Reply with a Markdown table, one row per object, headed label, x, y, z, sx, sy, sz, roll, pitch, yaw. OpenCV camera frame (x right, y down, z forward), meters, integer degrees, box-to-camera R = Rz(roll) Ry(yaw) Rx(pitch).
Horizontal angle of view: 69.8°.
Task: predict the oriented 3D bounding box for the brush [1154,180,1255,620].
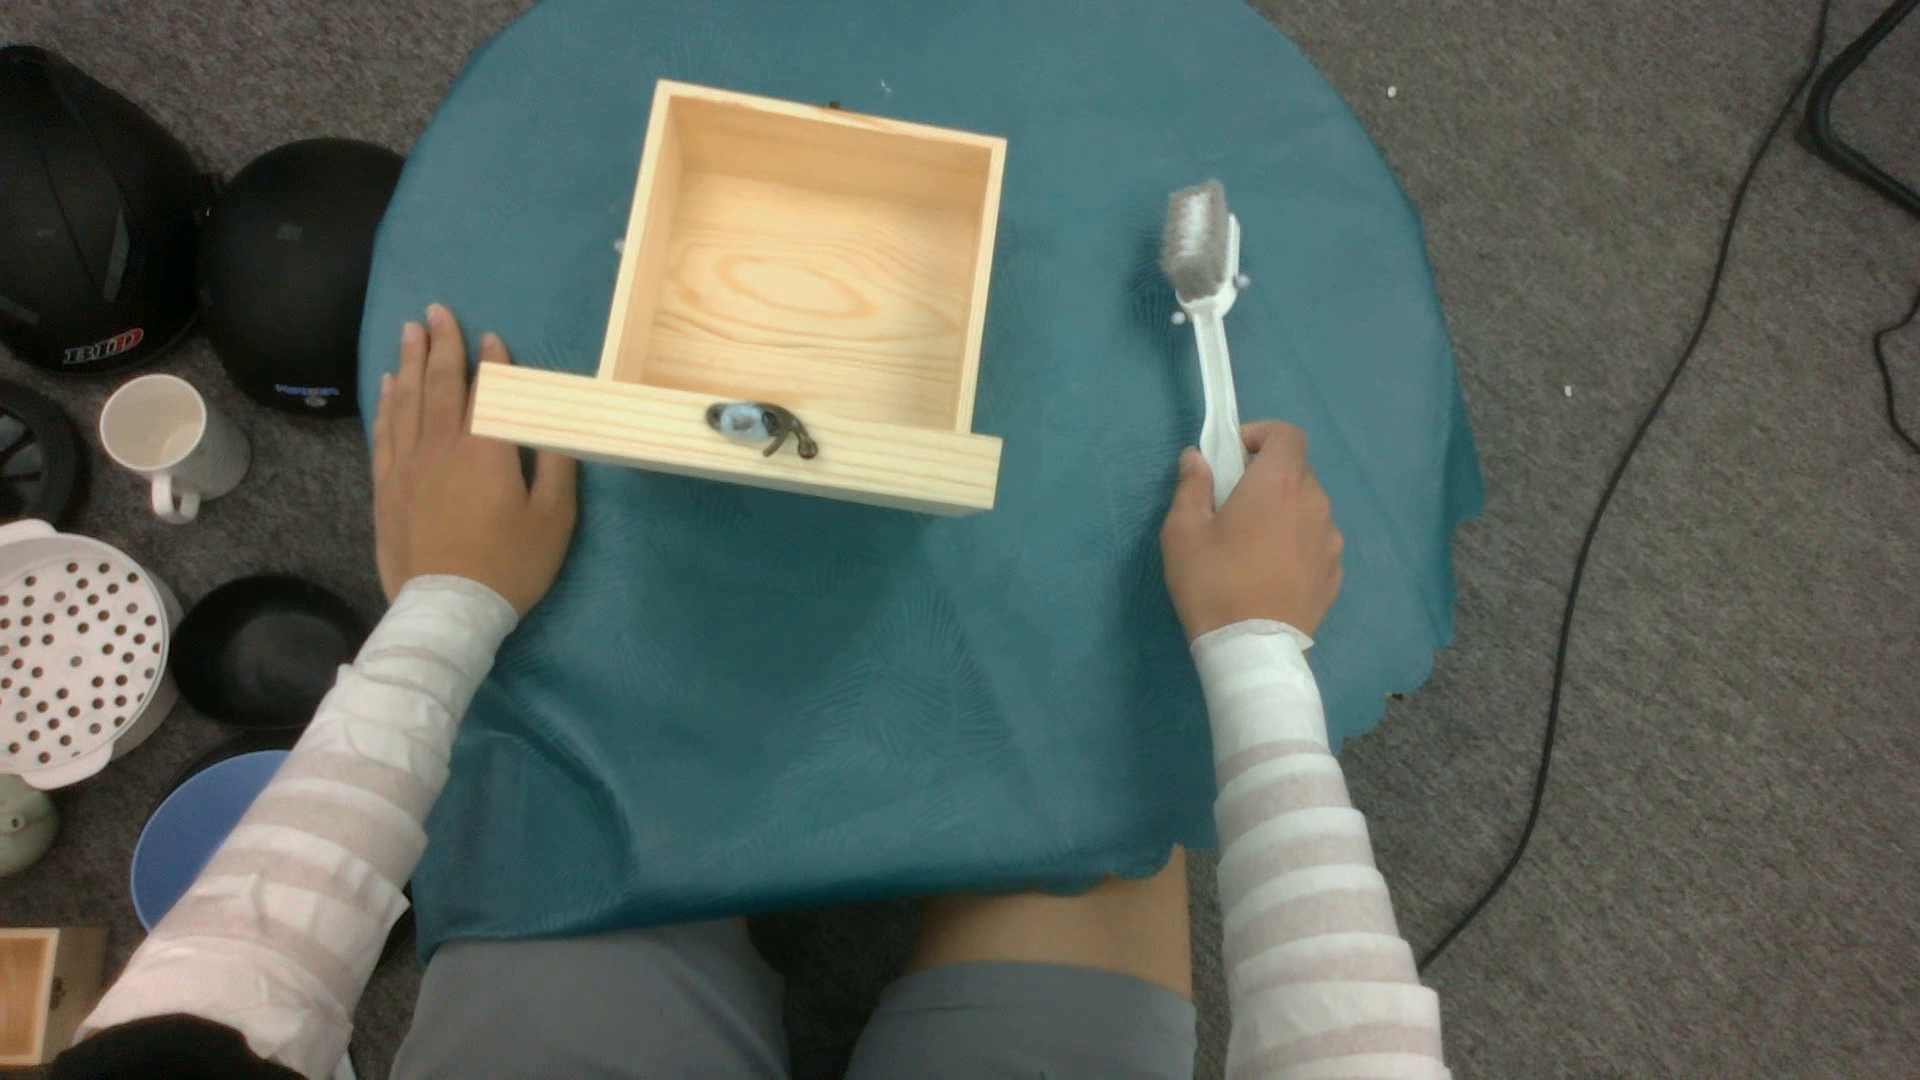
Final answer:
| label | x | y | z | sx | sy | sz | roll | pitch | yaw |
| --- | --- | --- | --- | --- | --- | --- | --- | --- | --- |
| brush | 0.131 | -0.079 | 0.738 | 0.050 | 0.034 | 0.244 | 13 | 70 | -36 |

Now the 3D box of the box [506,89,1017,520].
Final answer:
| label | x | y | z | sx | sy | sz | roll | pitch | yaw |
| --- | --- | --- | --- | --- | --- | --- | --- | --- | --- |
| box | -0.071 | -0.116 | 0.641 | 0.182 | 0.252 | 0.266 | 7 | 75 | -5 |
